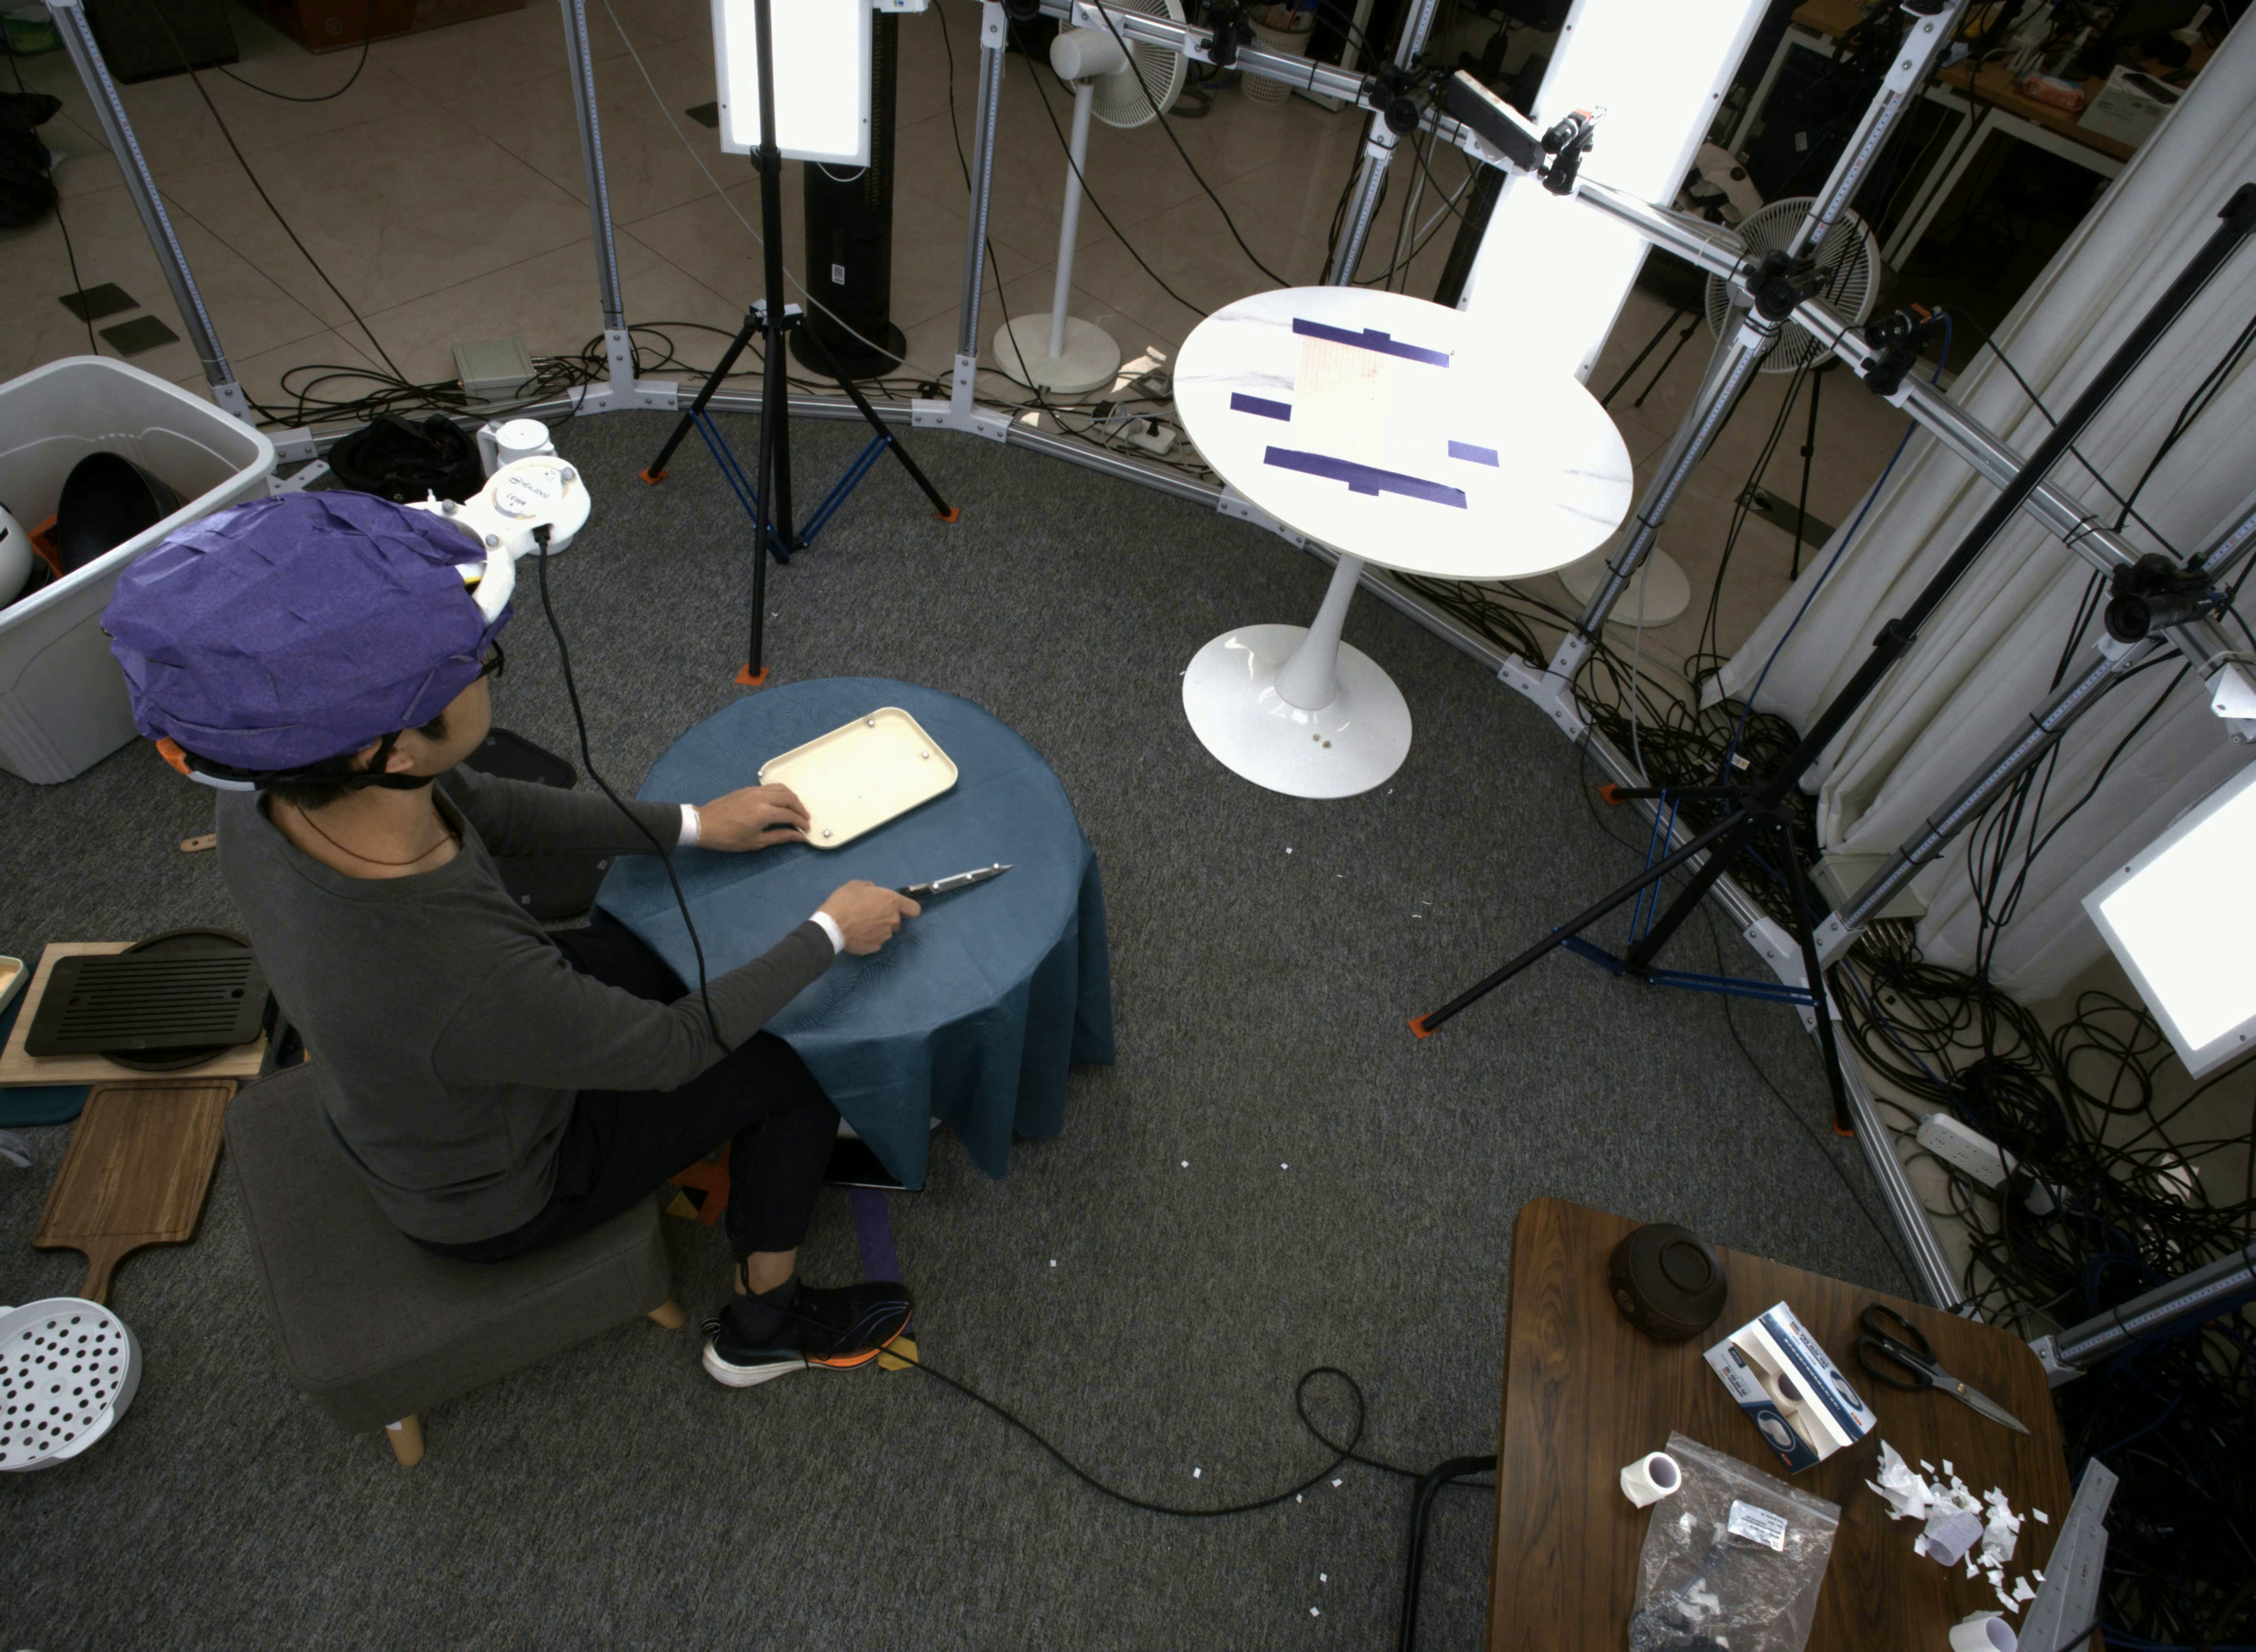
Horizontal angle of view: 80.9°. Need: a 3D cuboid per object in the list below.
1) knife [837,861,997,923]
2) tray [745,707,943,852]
[{"bbox_3d":[-0.268,0.081,1.696,0.240,0.017,0.023,-19,49,-34],"label":"knife"},{"bbox_3d":[-0.388,-0.065,1.781,0.240,0.018,0.167,-31,68,-31],"label":"tray"}]
